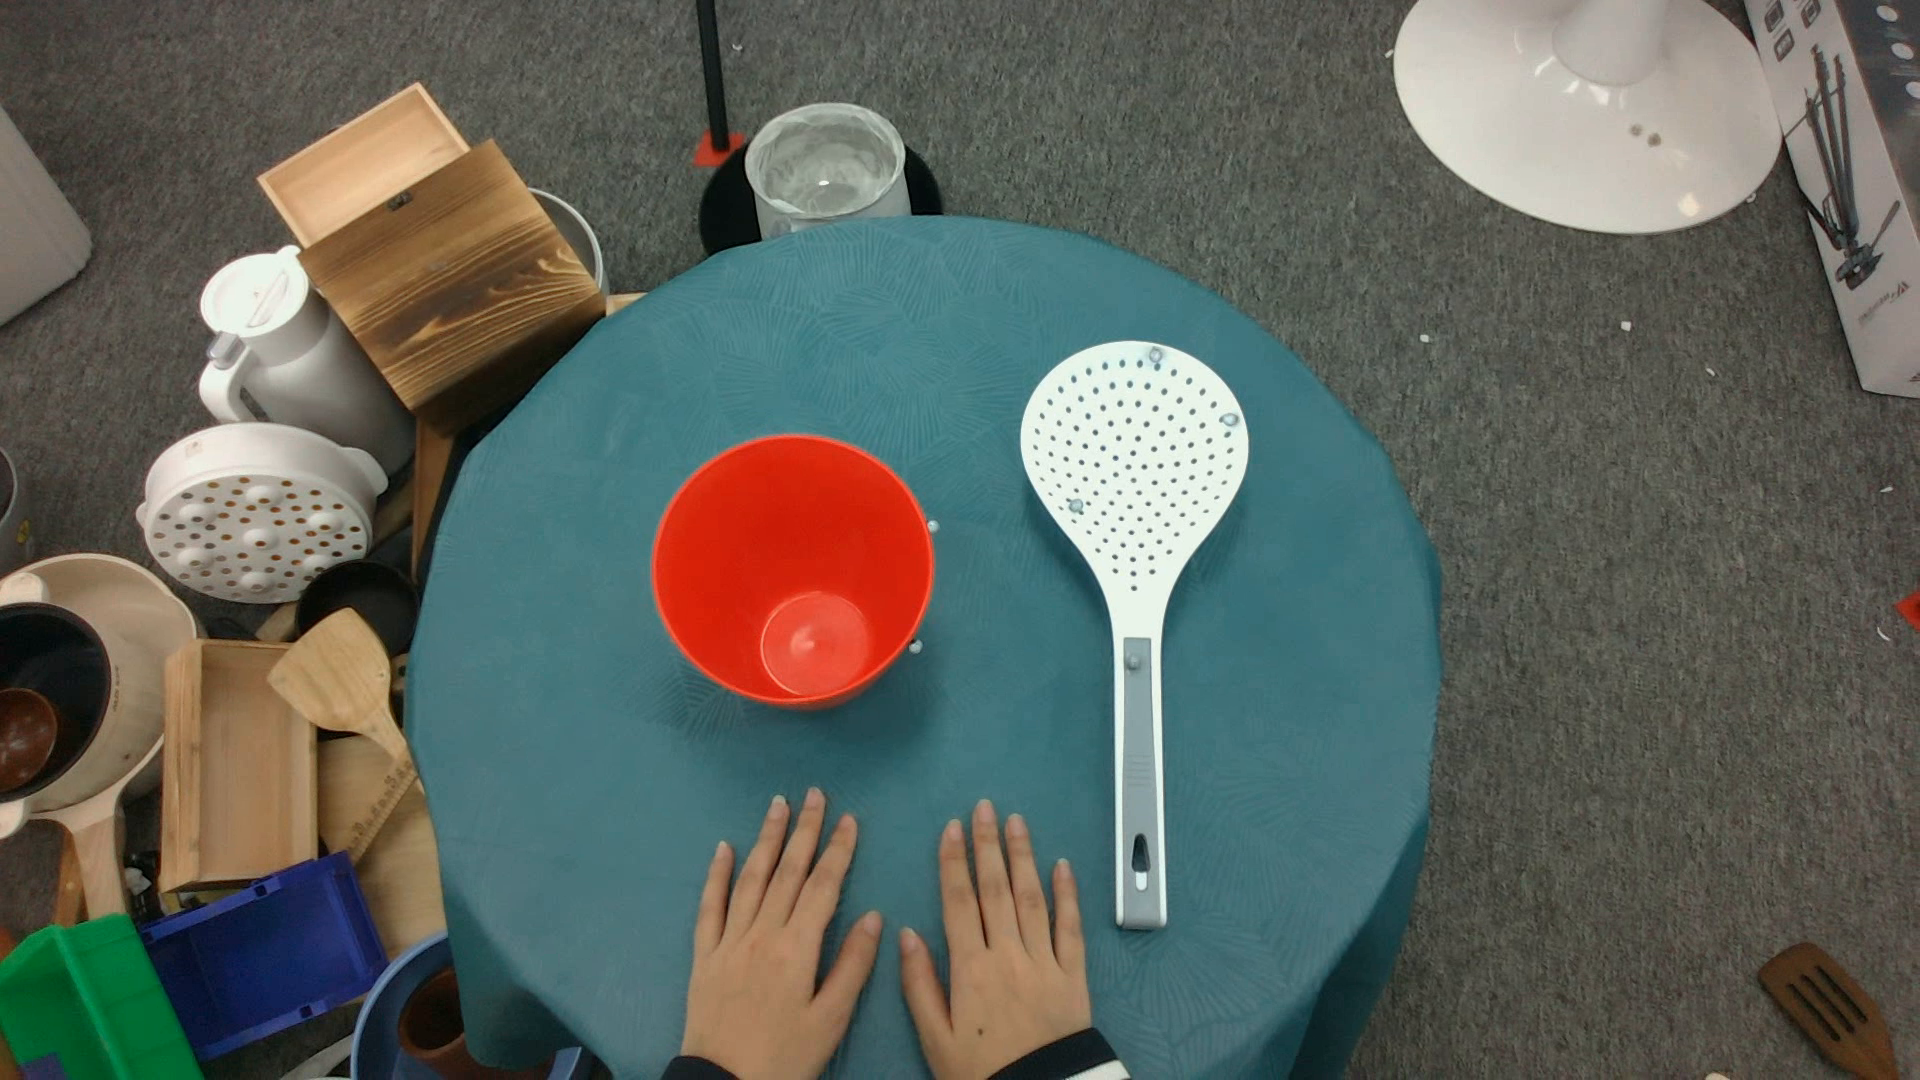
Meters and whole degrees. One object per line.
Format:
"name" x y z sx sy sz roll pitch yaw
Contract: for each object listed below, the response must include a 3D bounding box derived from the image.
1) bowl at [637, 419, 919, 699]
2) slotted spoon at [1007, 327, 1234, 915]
"bowl" -0.097 0.023 0.760 0.148 0.104 0.148 2 63 -3
"slotted spoon" 0.092 0.035 0.790 0.136 0.045 0.351 2 63 1
